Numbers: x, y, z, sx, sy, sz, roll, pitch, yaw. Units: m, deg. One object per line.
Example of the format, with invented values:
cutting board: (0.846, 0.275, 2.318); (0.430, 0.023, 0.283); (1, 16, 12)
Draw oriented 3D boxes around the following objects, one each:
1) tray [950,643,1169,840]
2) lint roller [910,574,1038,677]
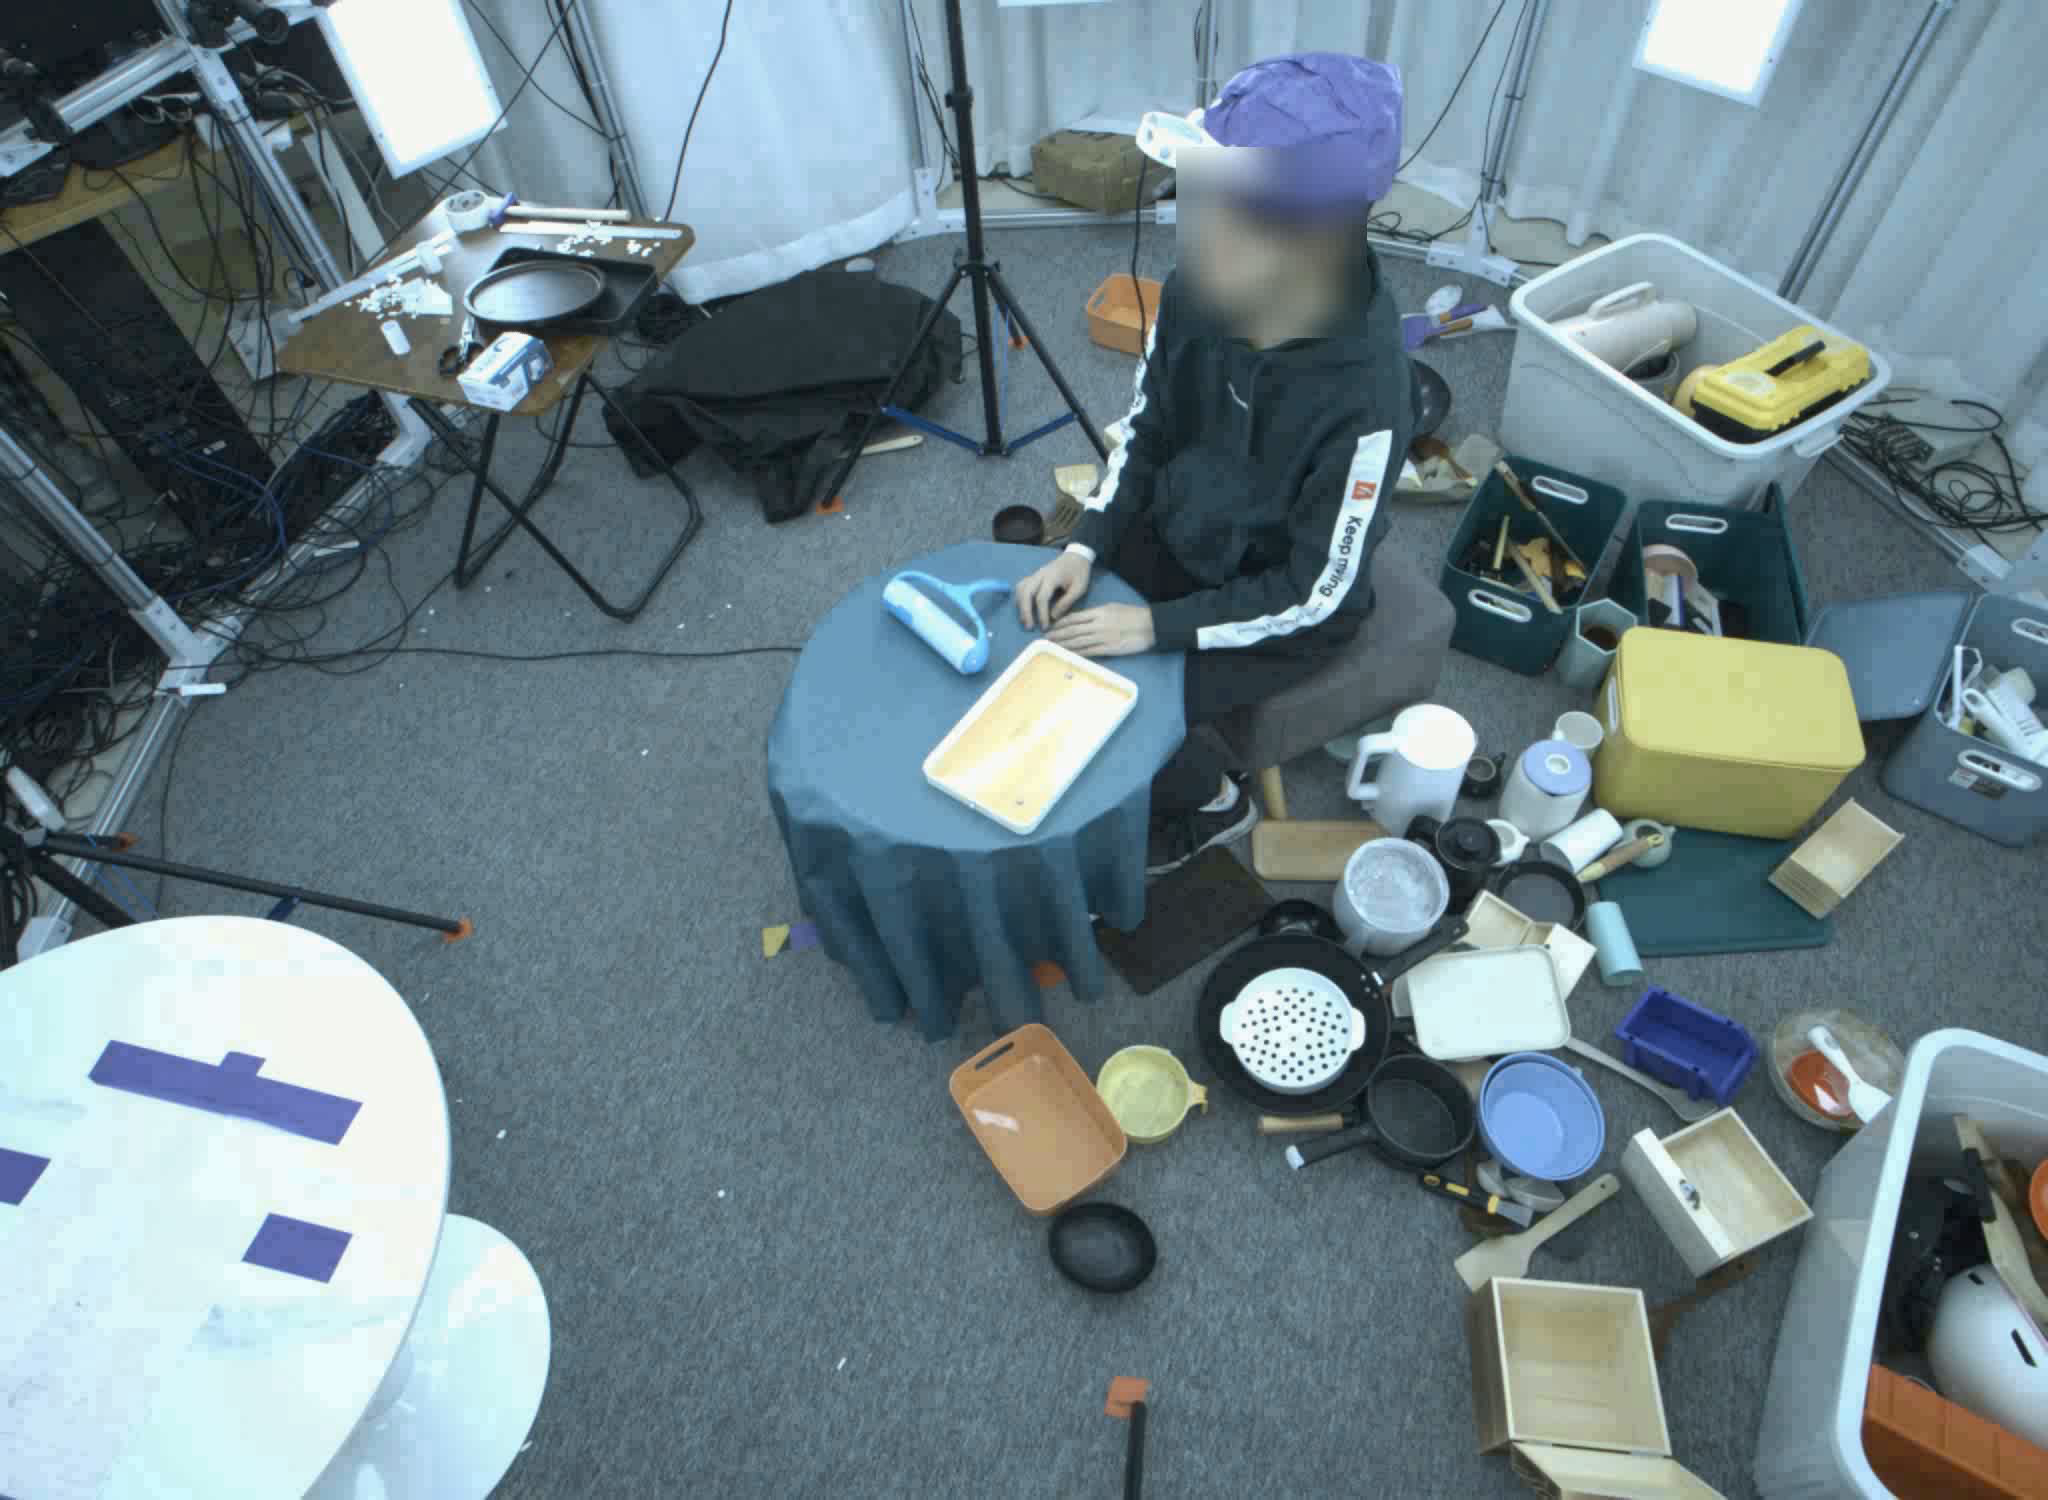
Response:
tray: (0.054, -0.019, 1.778); (0.188, 0.028, 0.302); (31, 61, 22)
lint roller: (-0.053, -0.222, 1.909); (0.181, 0.069, 0.224); (-39, 60, -22)
